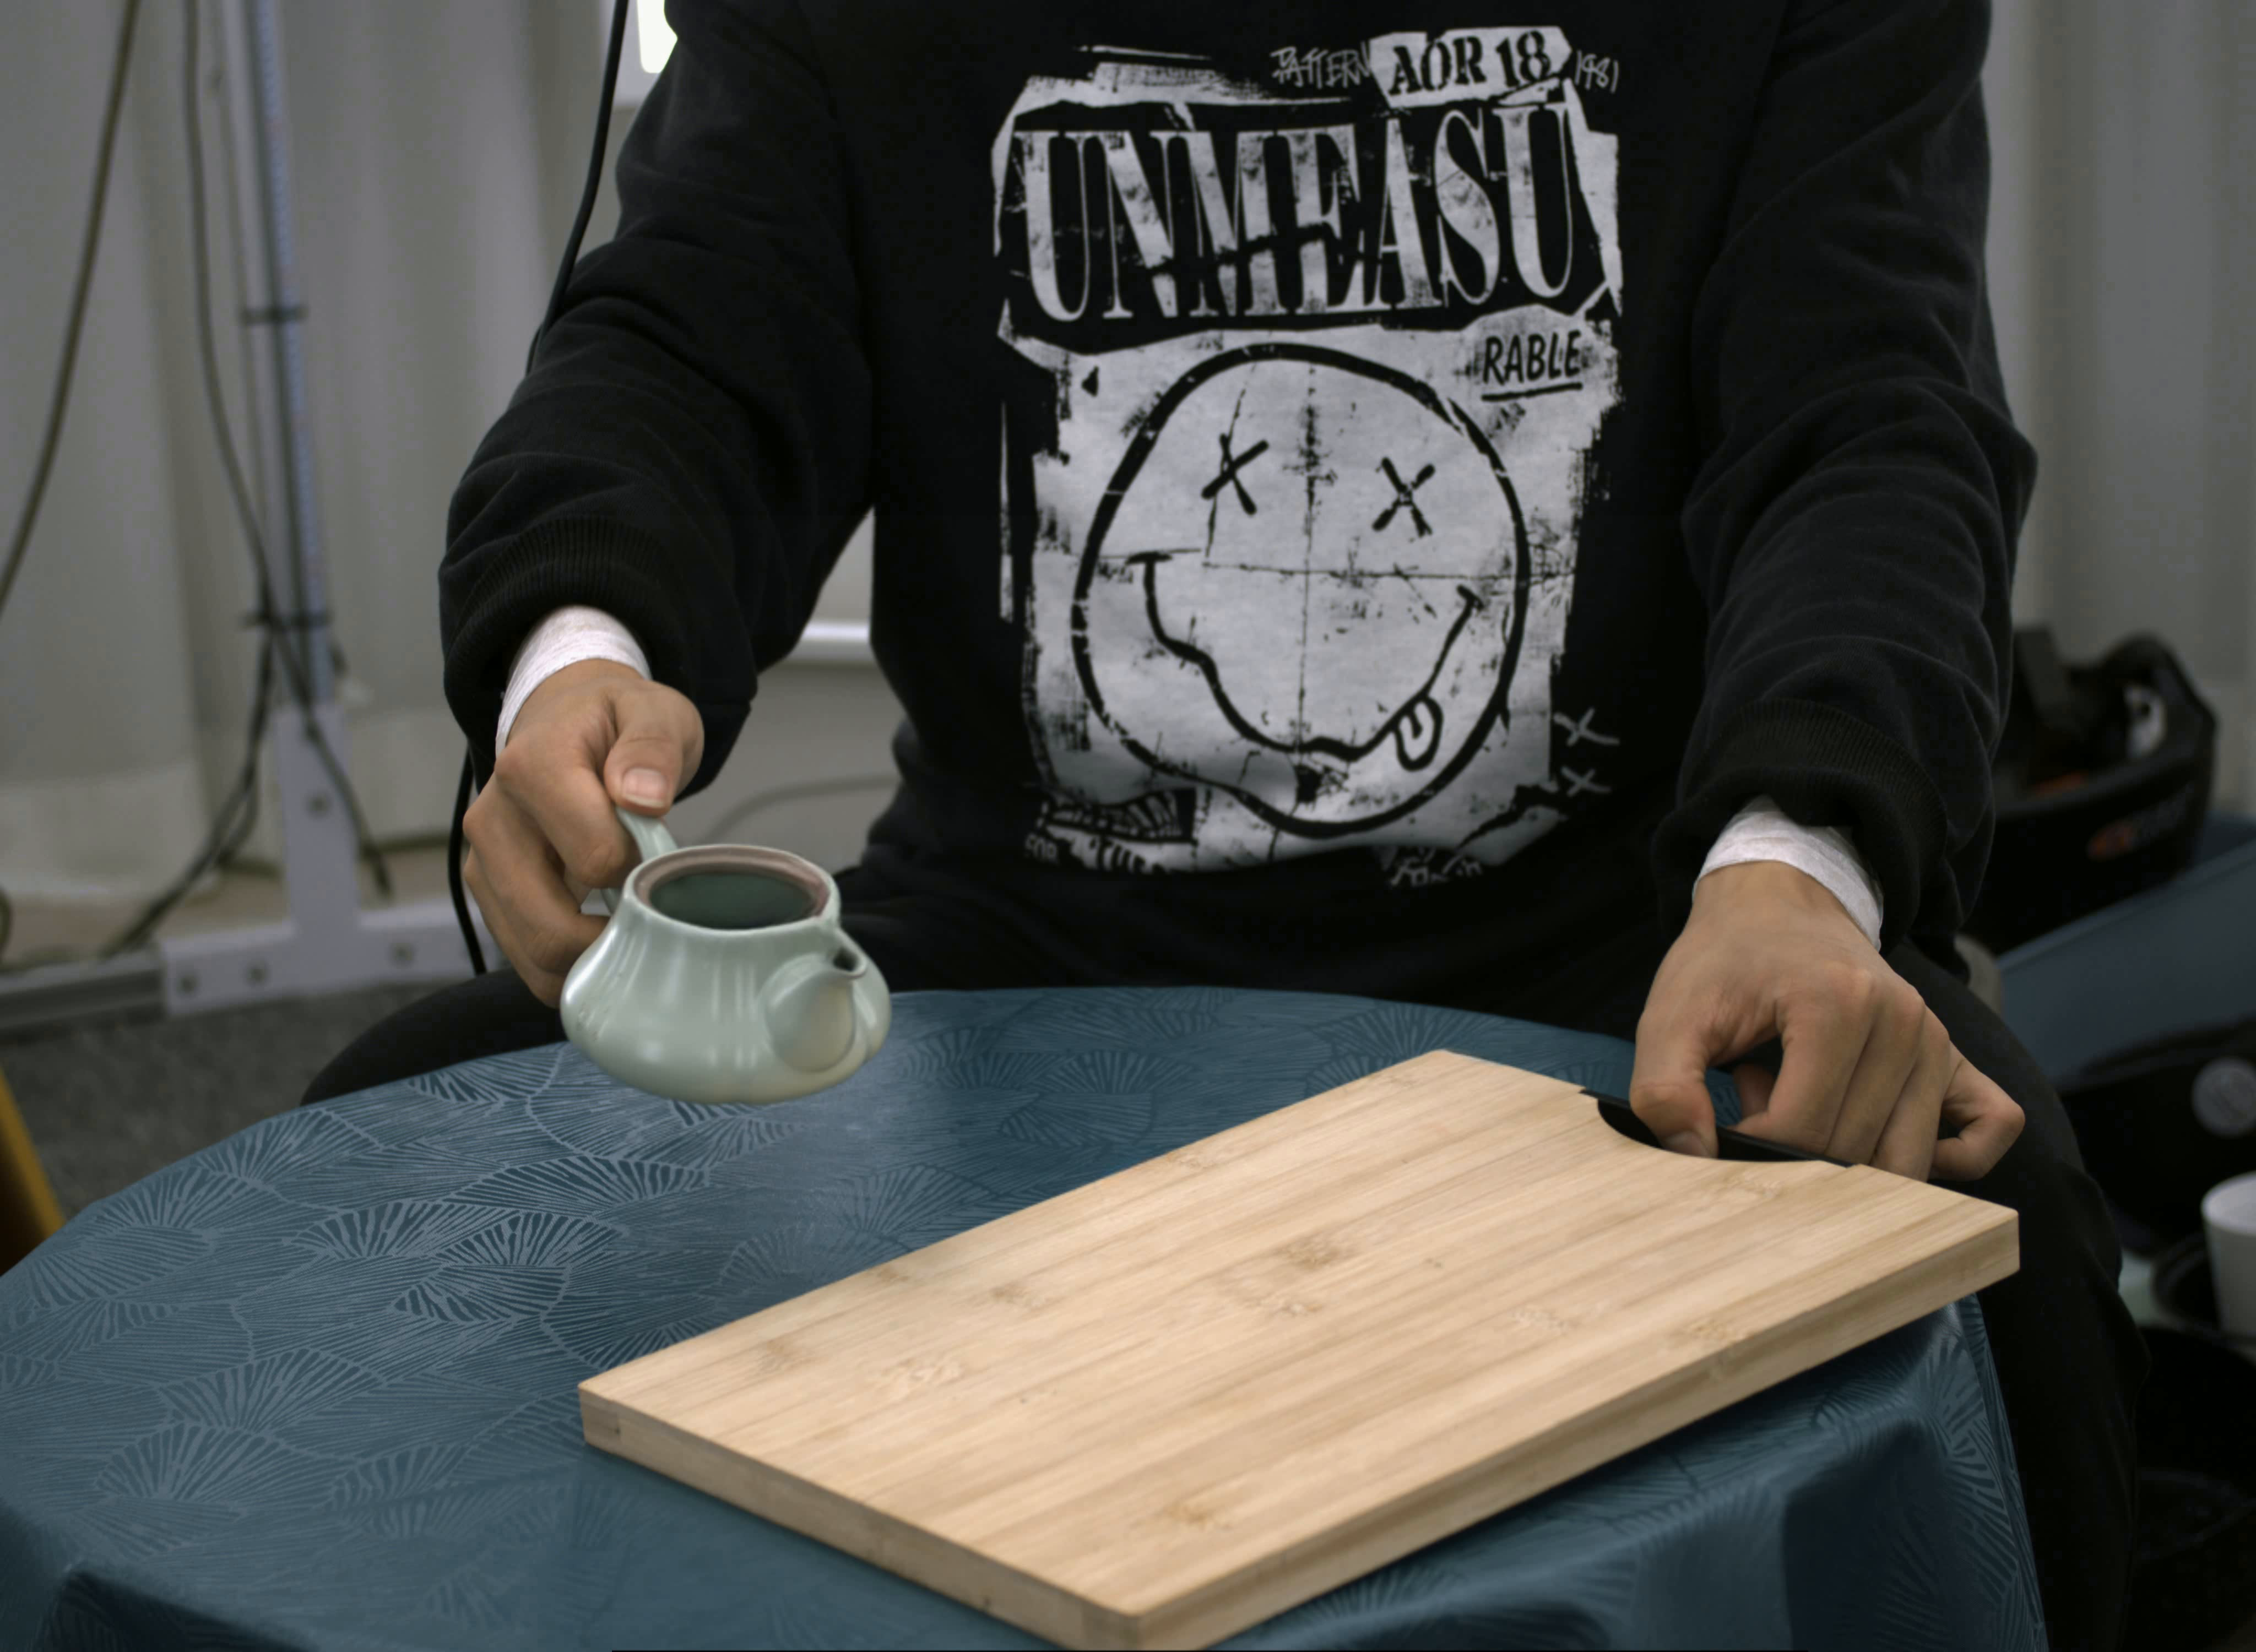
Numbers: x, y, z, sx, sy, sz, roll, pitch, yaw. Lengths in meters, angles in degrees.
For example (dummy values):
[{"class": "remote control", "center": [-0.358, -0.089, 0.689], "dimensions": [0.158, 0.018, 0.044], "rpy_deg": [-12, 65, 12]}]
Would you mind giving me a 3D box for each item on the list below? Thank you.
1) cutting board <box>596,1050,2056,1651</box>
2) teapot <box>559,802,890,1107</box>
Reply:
[{"class": "cutting board", "center": [0.055, 0.141, 1.543], "dimensions": [0.348, 0.023, 0.252], "rpy_deg": [-19, 22, -38]}, {"class": "teapot", "center": [-0.120, 0.040, 1.596], "dimensions": [0.096, 0.061, 0.138], "rpy_deg": [-16, 32, -36]}]
